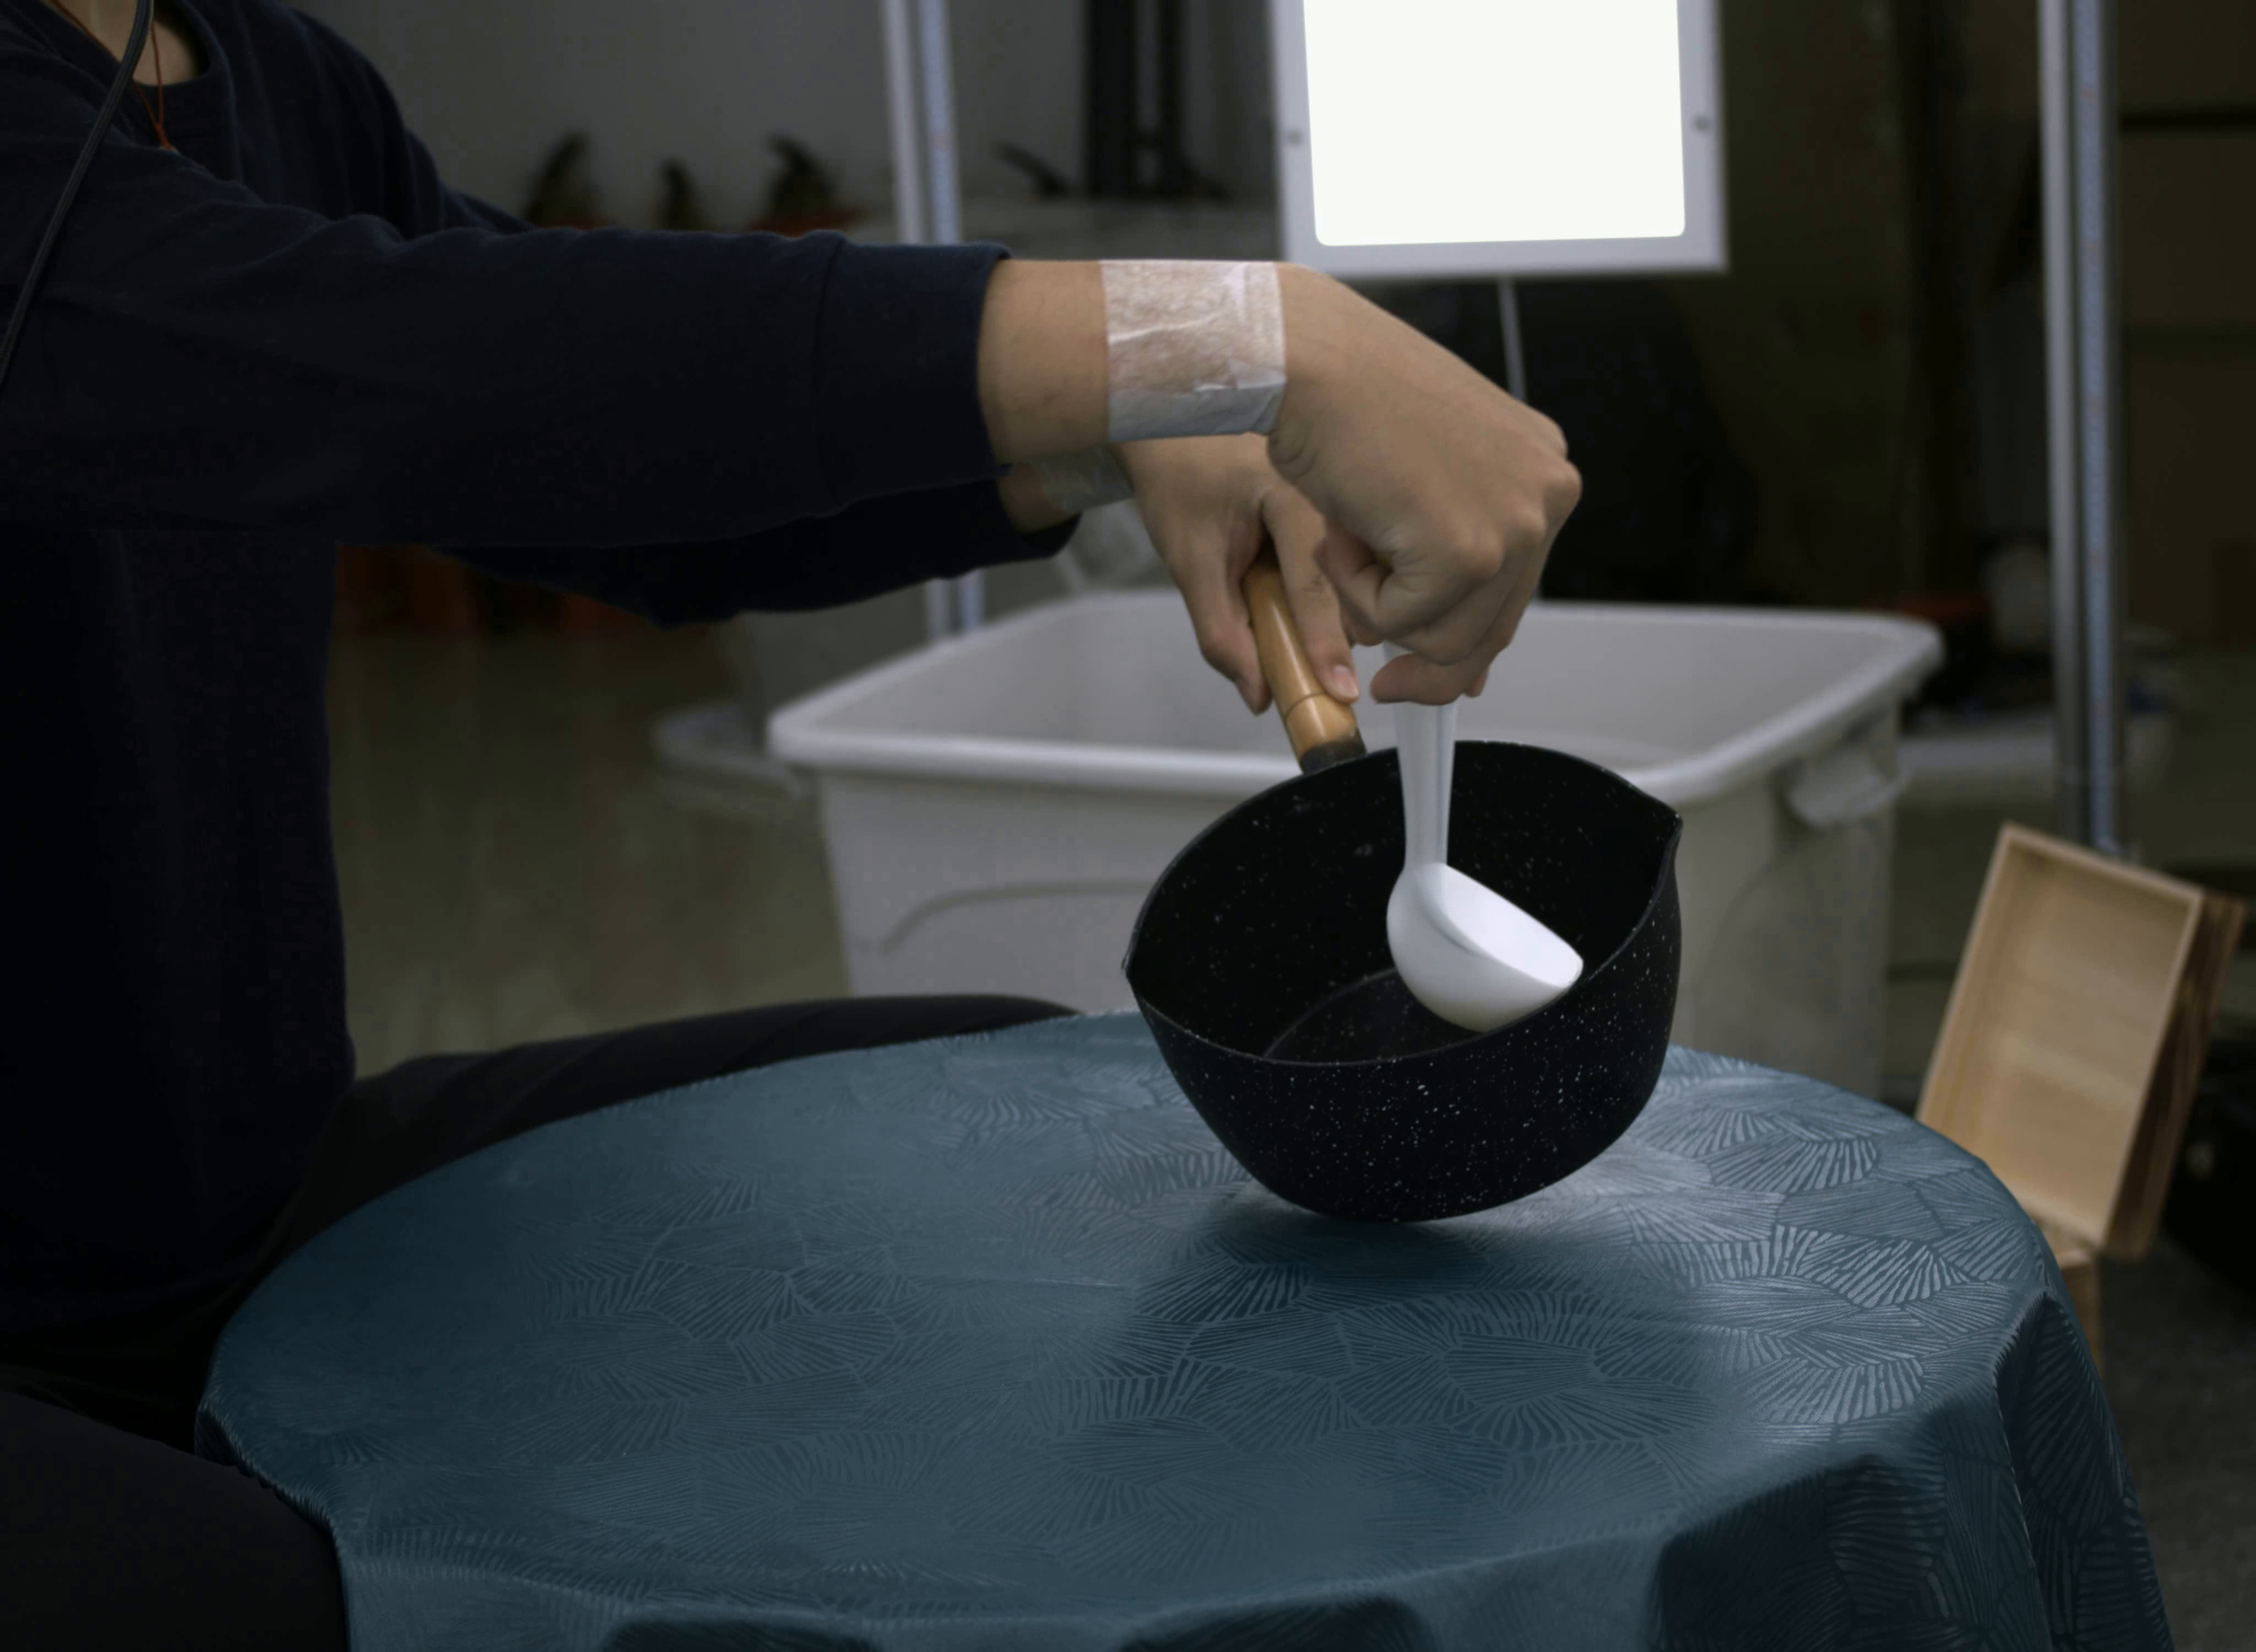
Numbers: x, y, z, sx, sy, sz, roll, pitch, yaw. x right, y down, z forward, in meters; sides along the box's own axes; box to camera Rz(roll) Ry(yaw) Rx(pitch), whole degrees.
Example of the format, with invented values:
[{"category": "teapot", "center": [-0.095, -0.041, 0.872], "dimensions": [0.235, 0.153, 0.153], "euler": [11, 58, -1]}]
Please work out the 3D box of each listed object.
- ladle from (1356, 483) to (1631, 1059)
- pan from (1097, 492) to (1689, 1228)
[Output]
[{"category": "ladle", "center": [0.113, -0.017, 1.716], "dimensions": [0.069, 0.293, 0.091], "euler": [-31, 58, -13]}, {"category": "pan", "center": [0.082, 0.007, 1.933], "dimensions": [0.207, 0.108, 0.344], "euler": [-19, 34, -1]}]
